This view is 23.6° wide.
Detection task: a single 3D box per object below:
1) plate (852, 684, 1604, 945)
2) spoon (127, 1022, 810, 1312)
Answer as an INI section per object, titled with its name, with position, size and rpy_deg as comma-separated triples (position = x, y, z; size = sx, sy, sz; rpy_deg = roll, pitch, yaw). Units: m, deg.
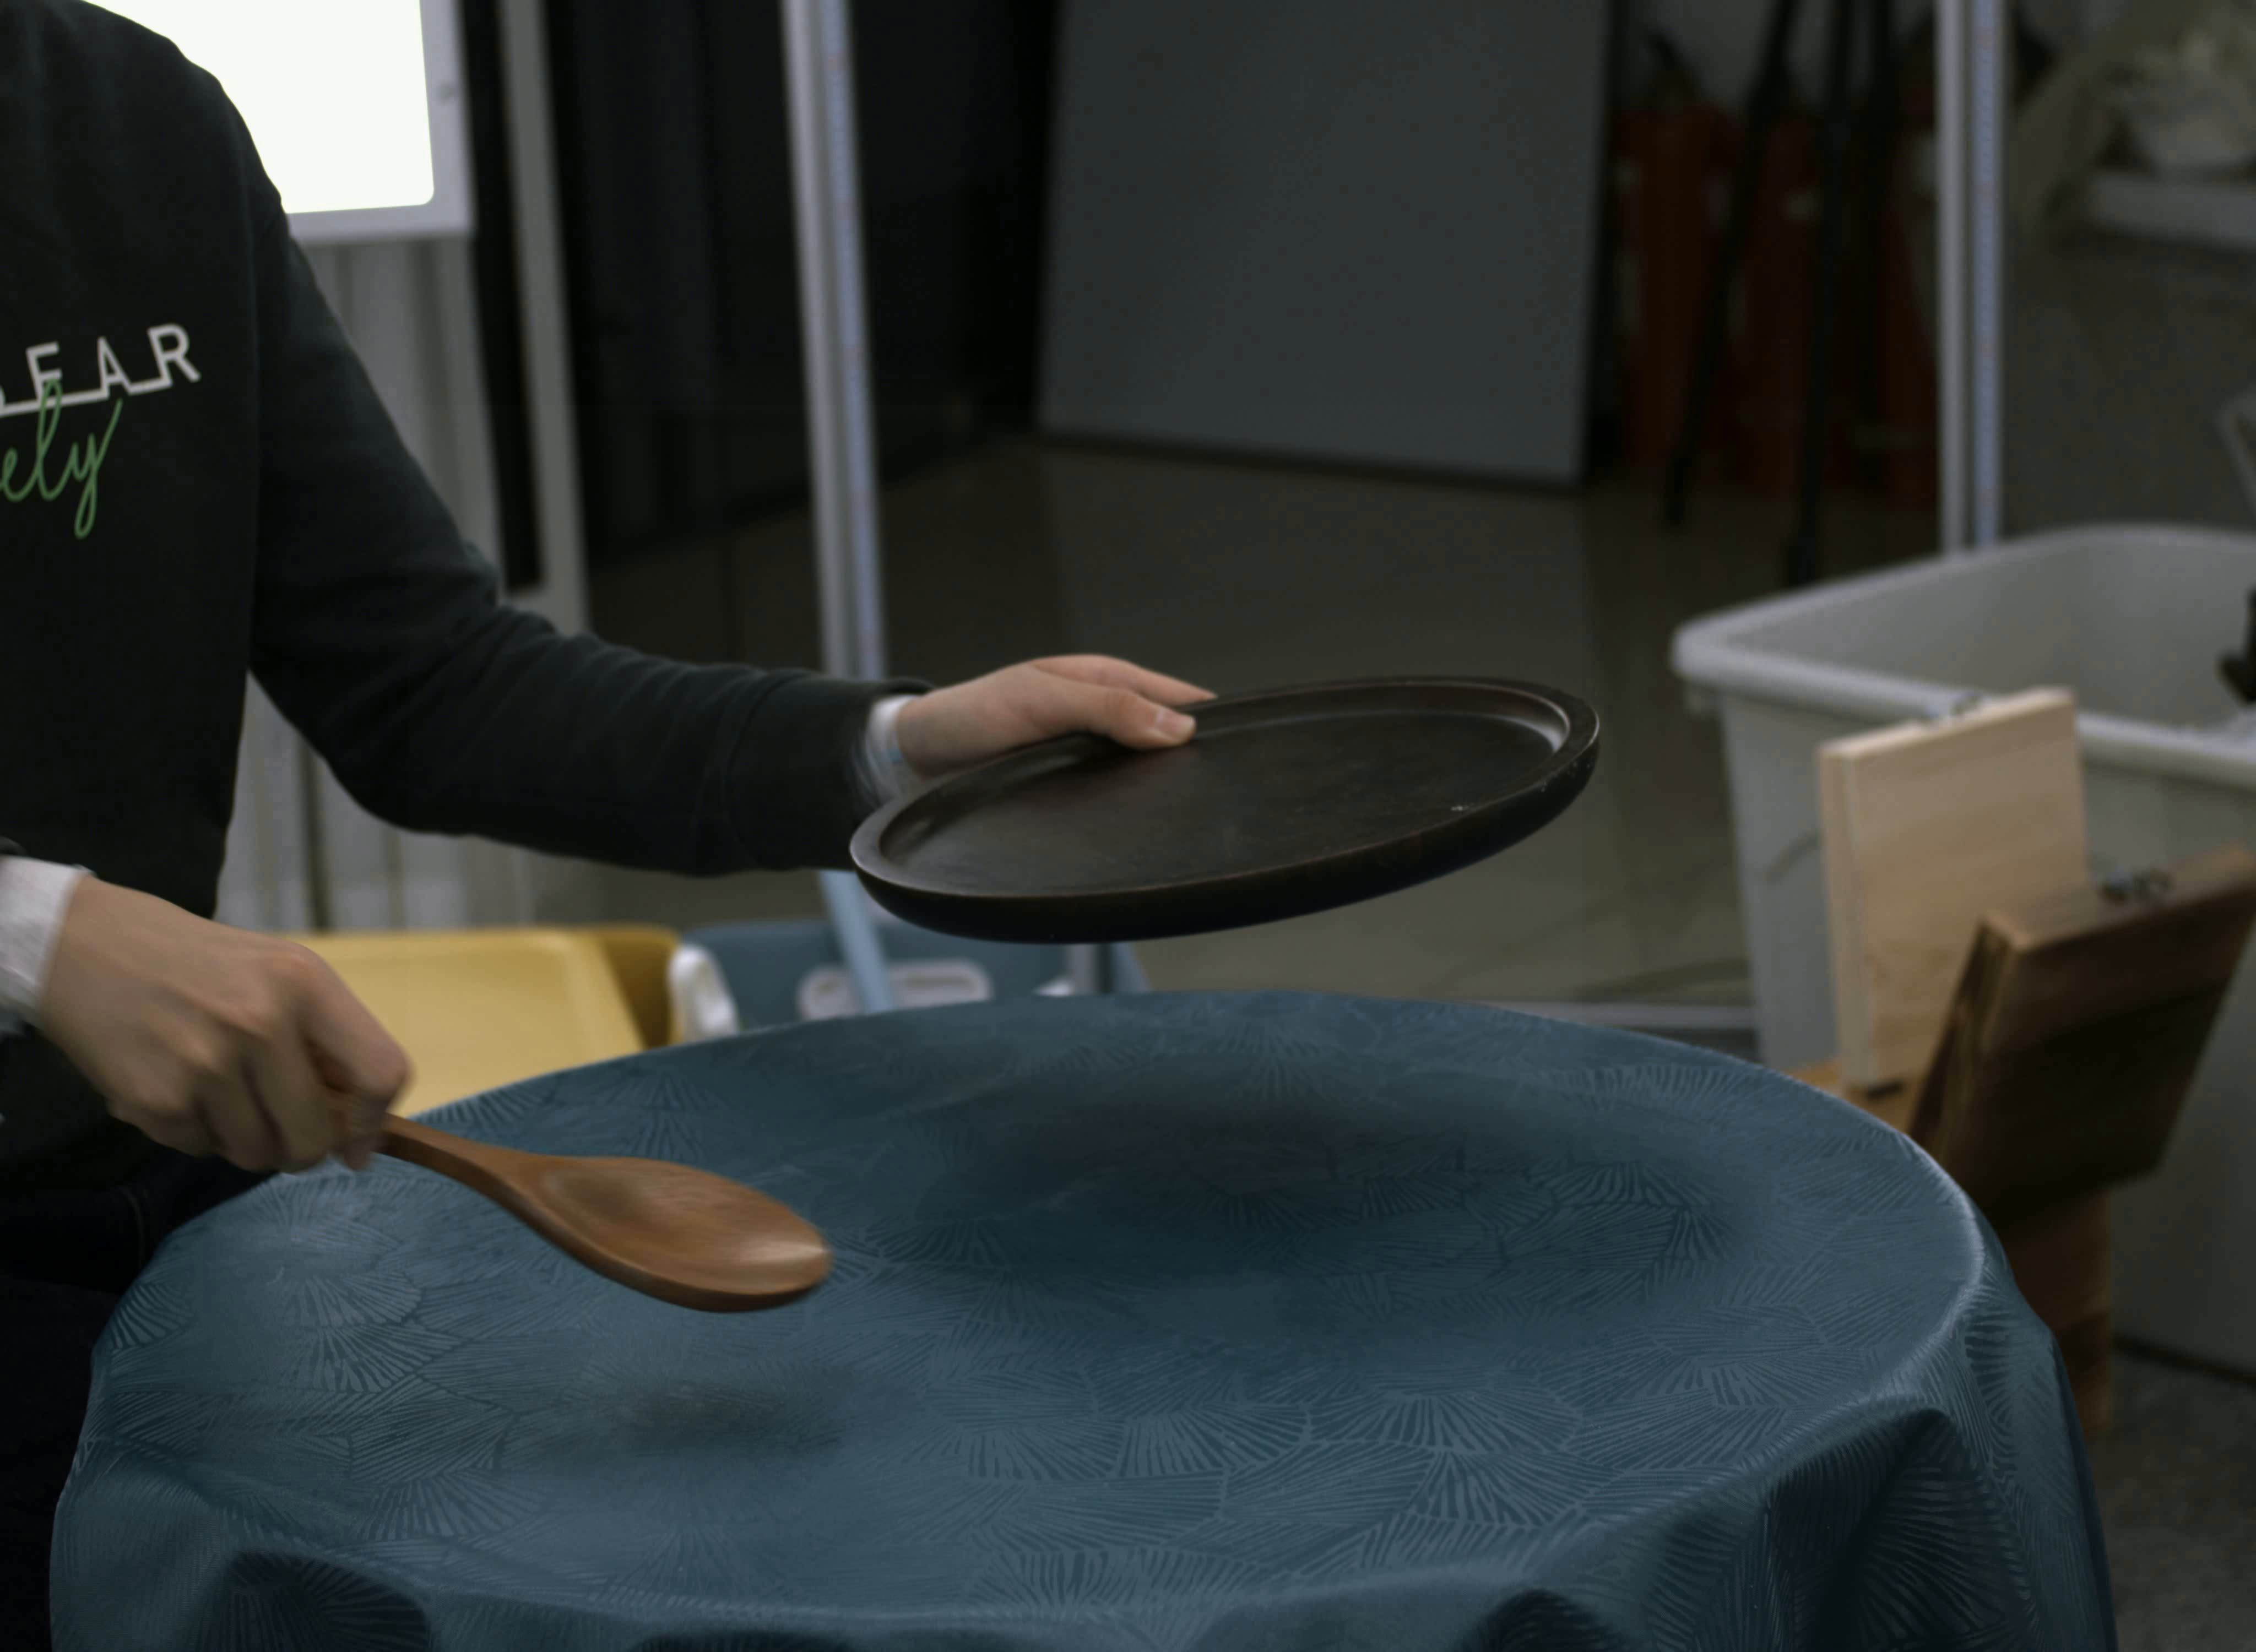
[plate]
position = 0.034, -0.006, 1.777
size = 0.252, 0.029, 0.255
rpy_deg = -10, 13, 1
[spoon]
position = -0.195, 0.101, 1.597
size = 0.214, 0.017, 0.075
rpy_deg = 20, 21, 8
